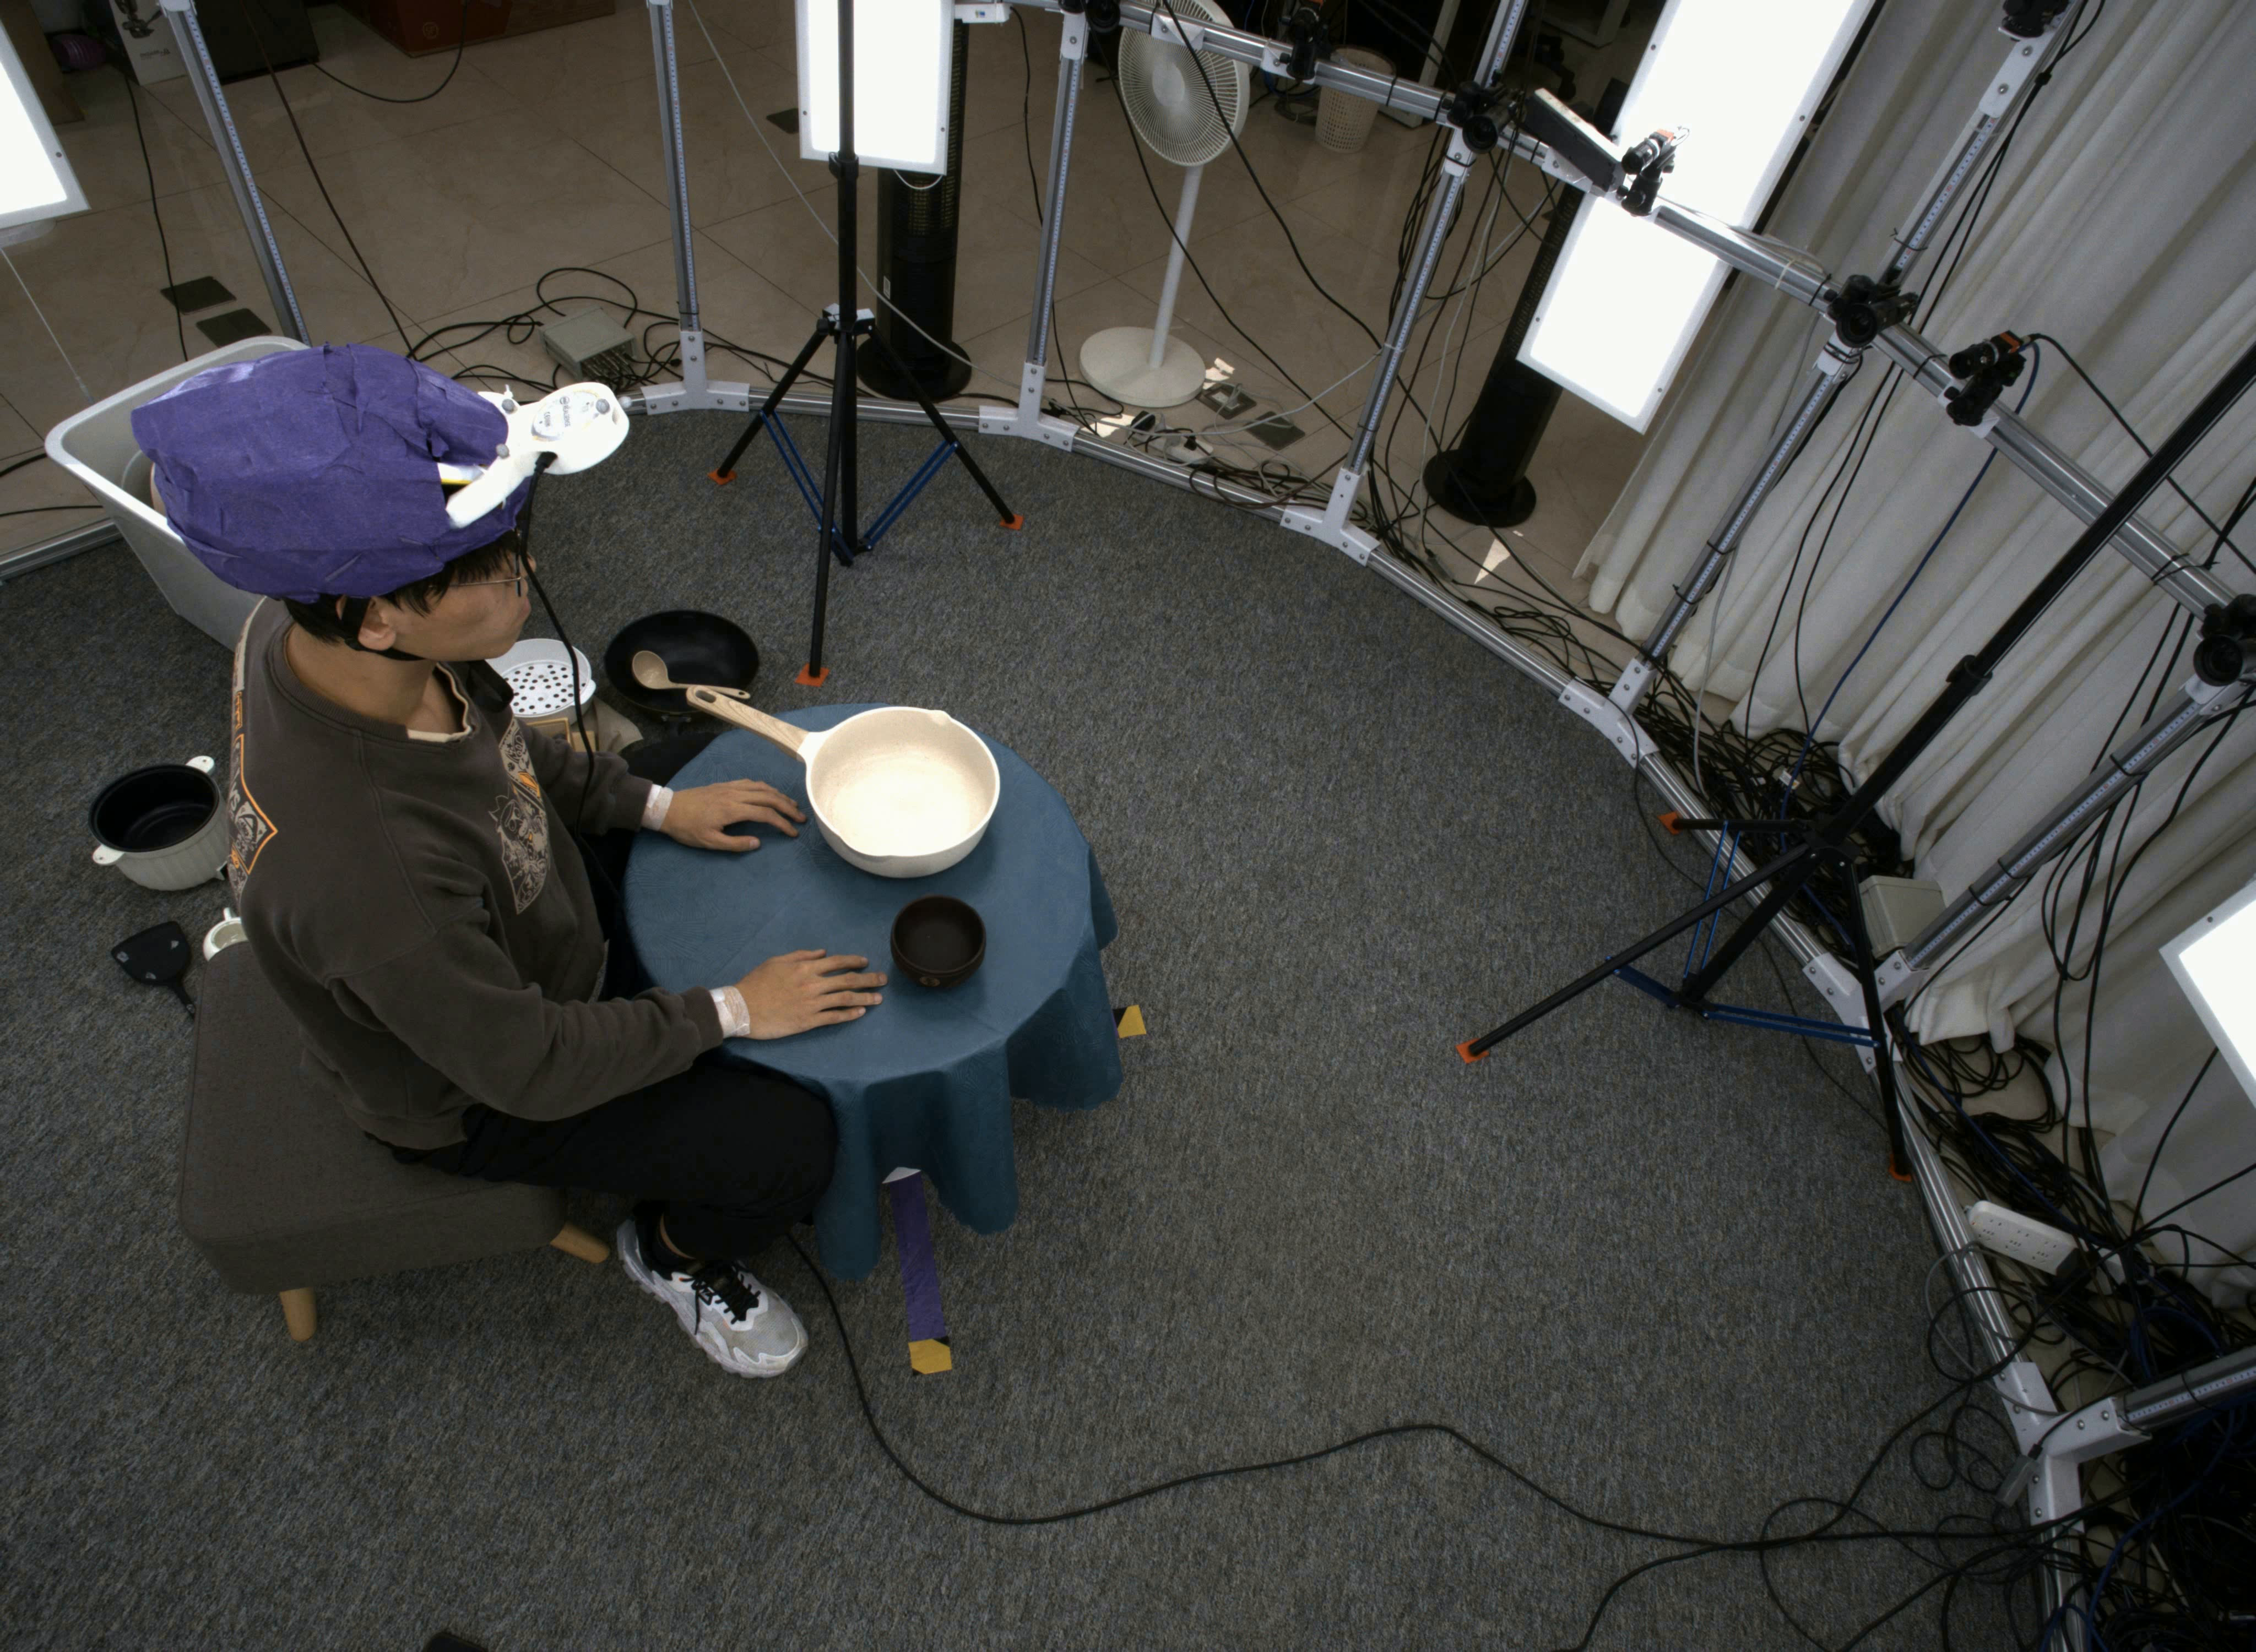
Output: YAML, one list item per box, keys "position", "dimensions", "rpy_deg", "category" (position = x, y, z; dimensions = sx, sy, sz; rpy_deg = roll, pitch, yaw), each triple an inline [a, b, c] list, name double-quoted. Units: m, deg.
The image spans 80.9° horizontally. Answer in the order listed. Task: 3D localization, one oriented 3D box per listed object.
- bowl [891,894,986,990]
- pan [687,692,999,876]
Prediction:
- position: [-0.237, 0.151, 1.628]
  dimensions: [0.117, 0.071, 0.116]
  rpy_deg: [6, 54, -7]
  category: "bowl"
- position: [-0.385, -0.077, 1.742]
  dimensions: [0.430, 0.104, 0.261]
  rpy_deg: [19, 54, 2]
  category: "pan"
